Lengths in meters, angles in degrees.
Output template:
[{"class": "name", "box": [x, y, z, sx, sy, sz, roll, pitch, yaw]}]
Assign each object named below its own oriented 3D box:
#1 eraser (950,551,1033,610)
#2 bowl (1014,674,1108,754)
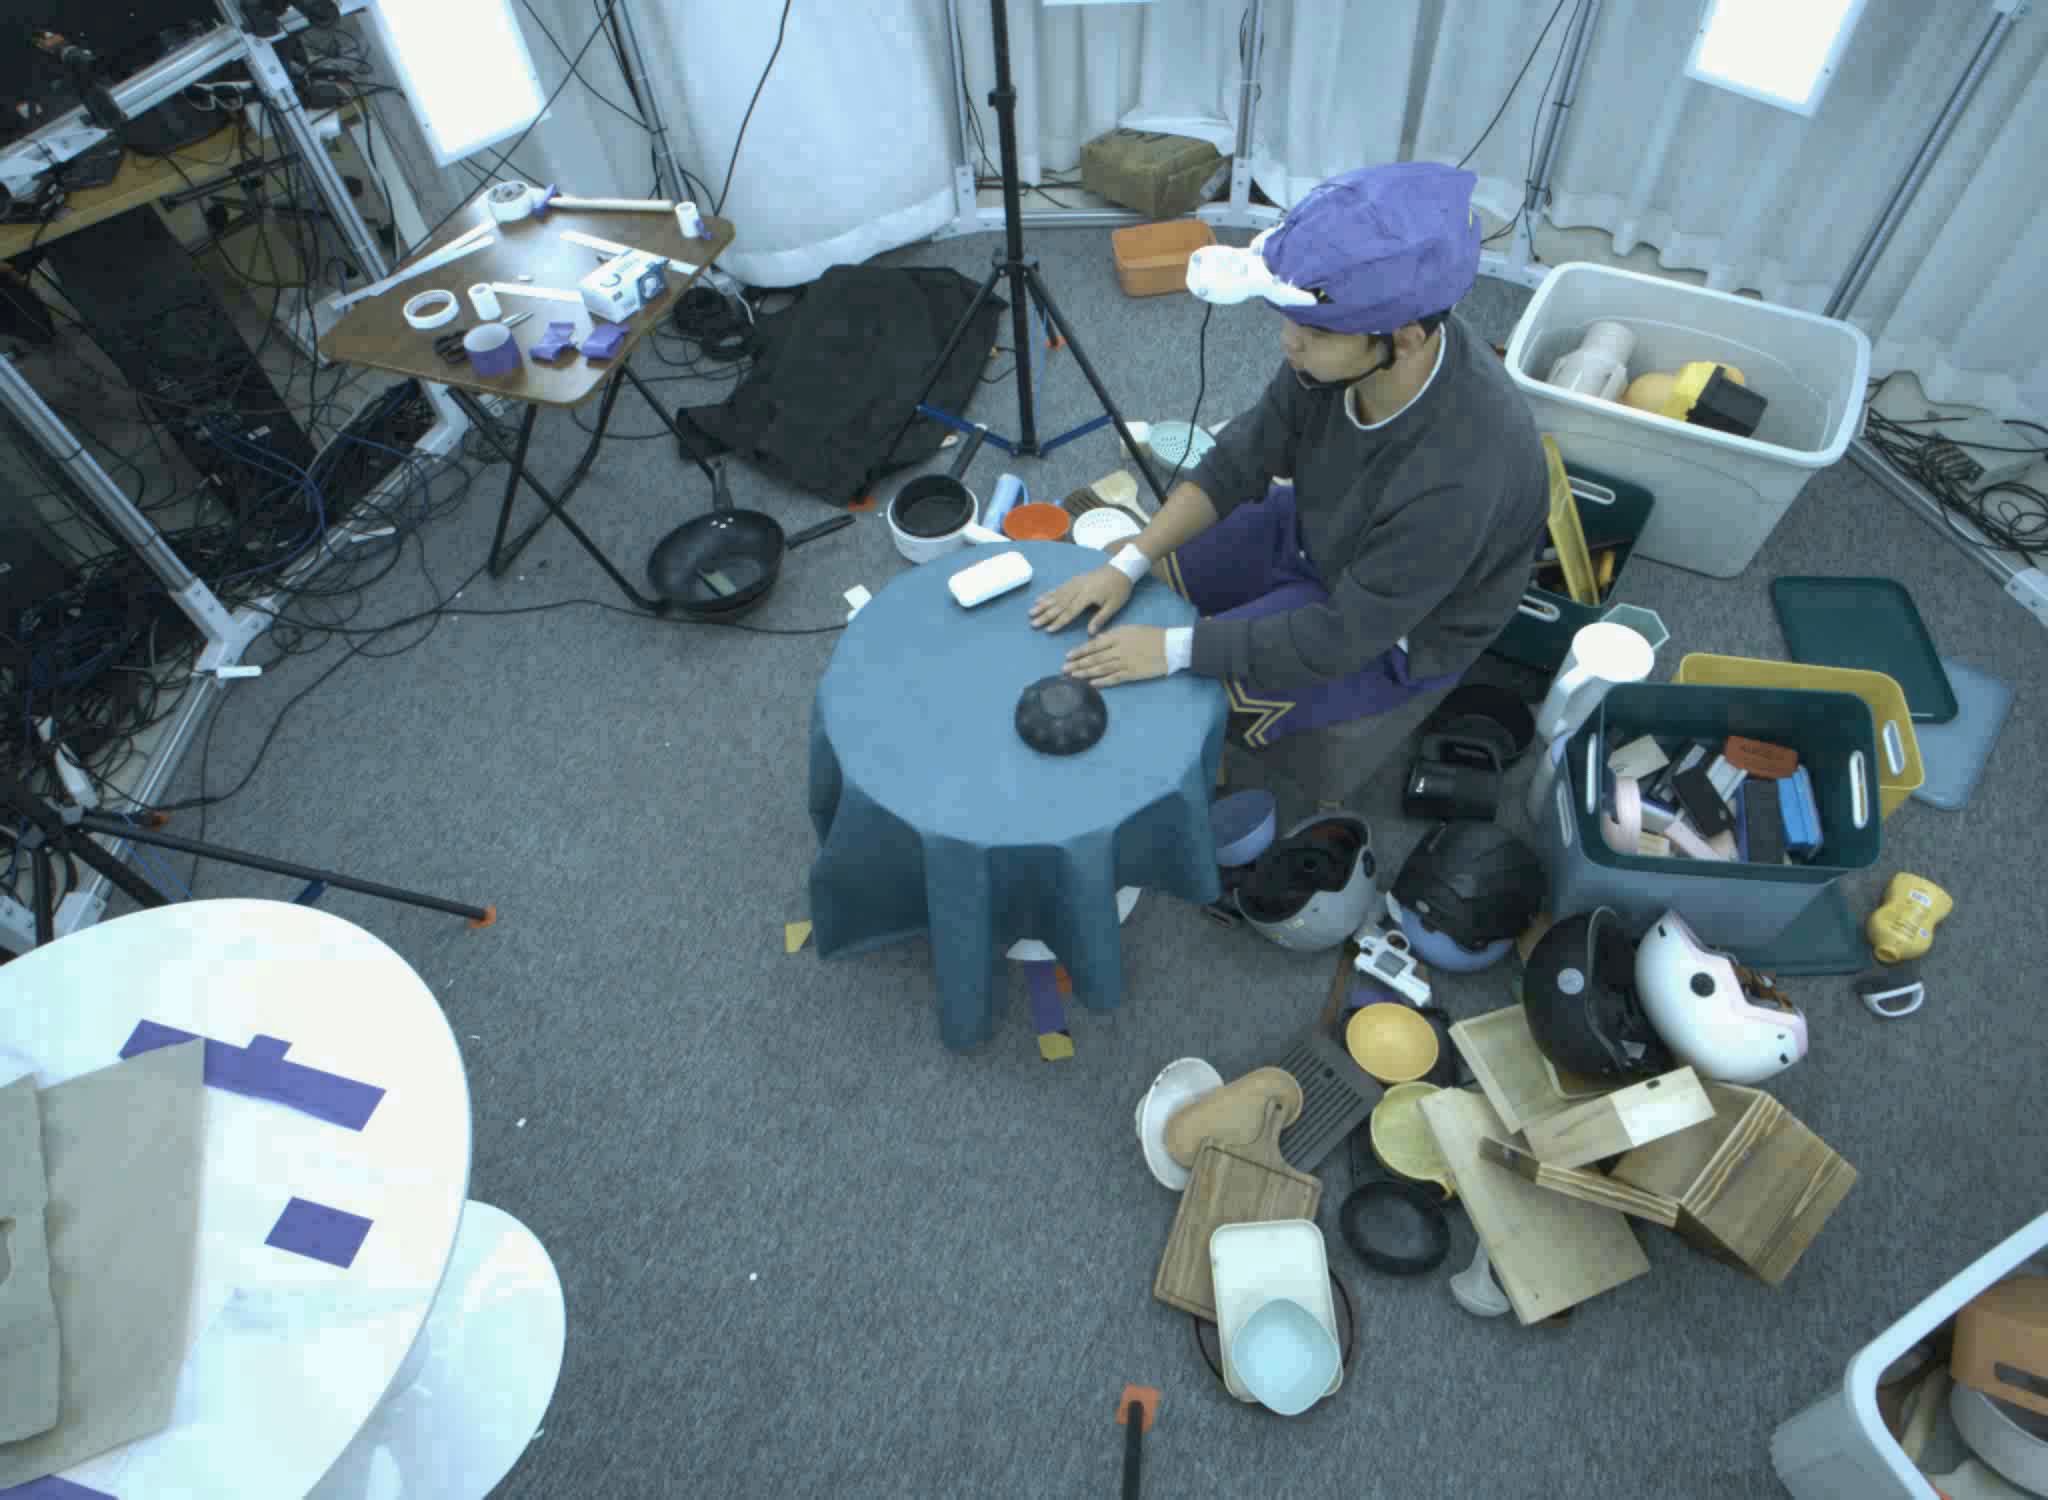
[{"class": "eraser", "box": [-0.052, -0.273, 1.966, 0.132, 0.035, 0.062, -25, 58, -13]}, {"class": "bowl", "box": [0.053, -0.063, 1.801, 0.140, 0.050, 0.138, -1, 54, 3]}]
